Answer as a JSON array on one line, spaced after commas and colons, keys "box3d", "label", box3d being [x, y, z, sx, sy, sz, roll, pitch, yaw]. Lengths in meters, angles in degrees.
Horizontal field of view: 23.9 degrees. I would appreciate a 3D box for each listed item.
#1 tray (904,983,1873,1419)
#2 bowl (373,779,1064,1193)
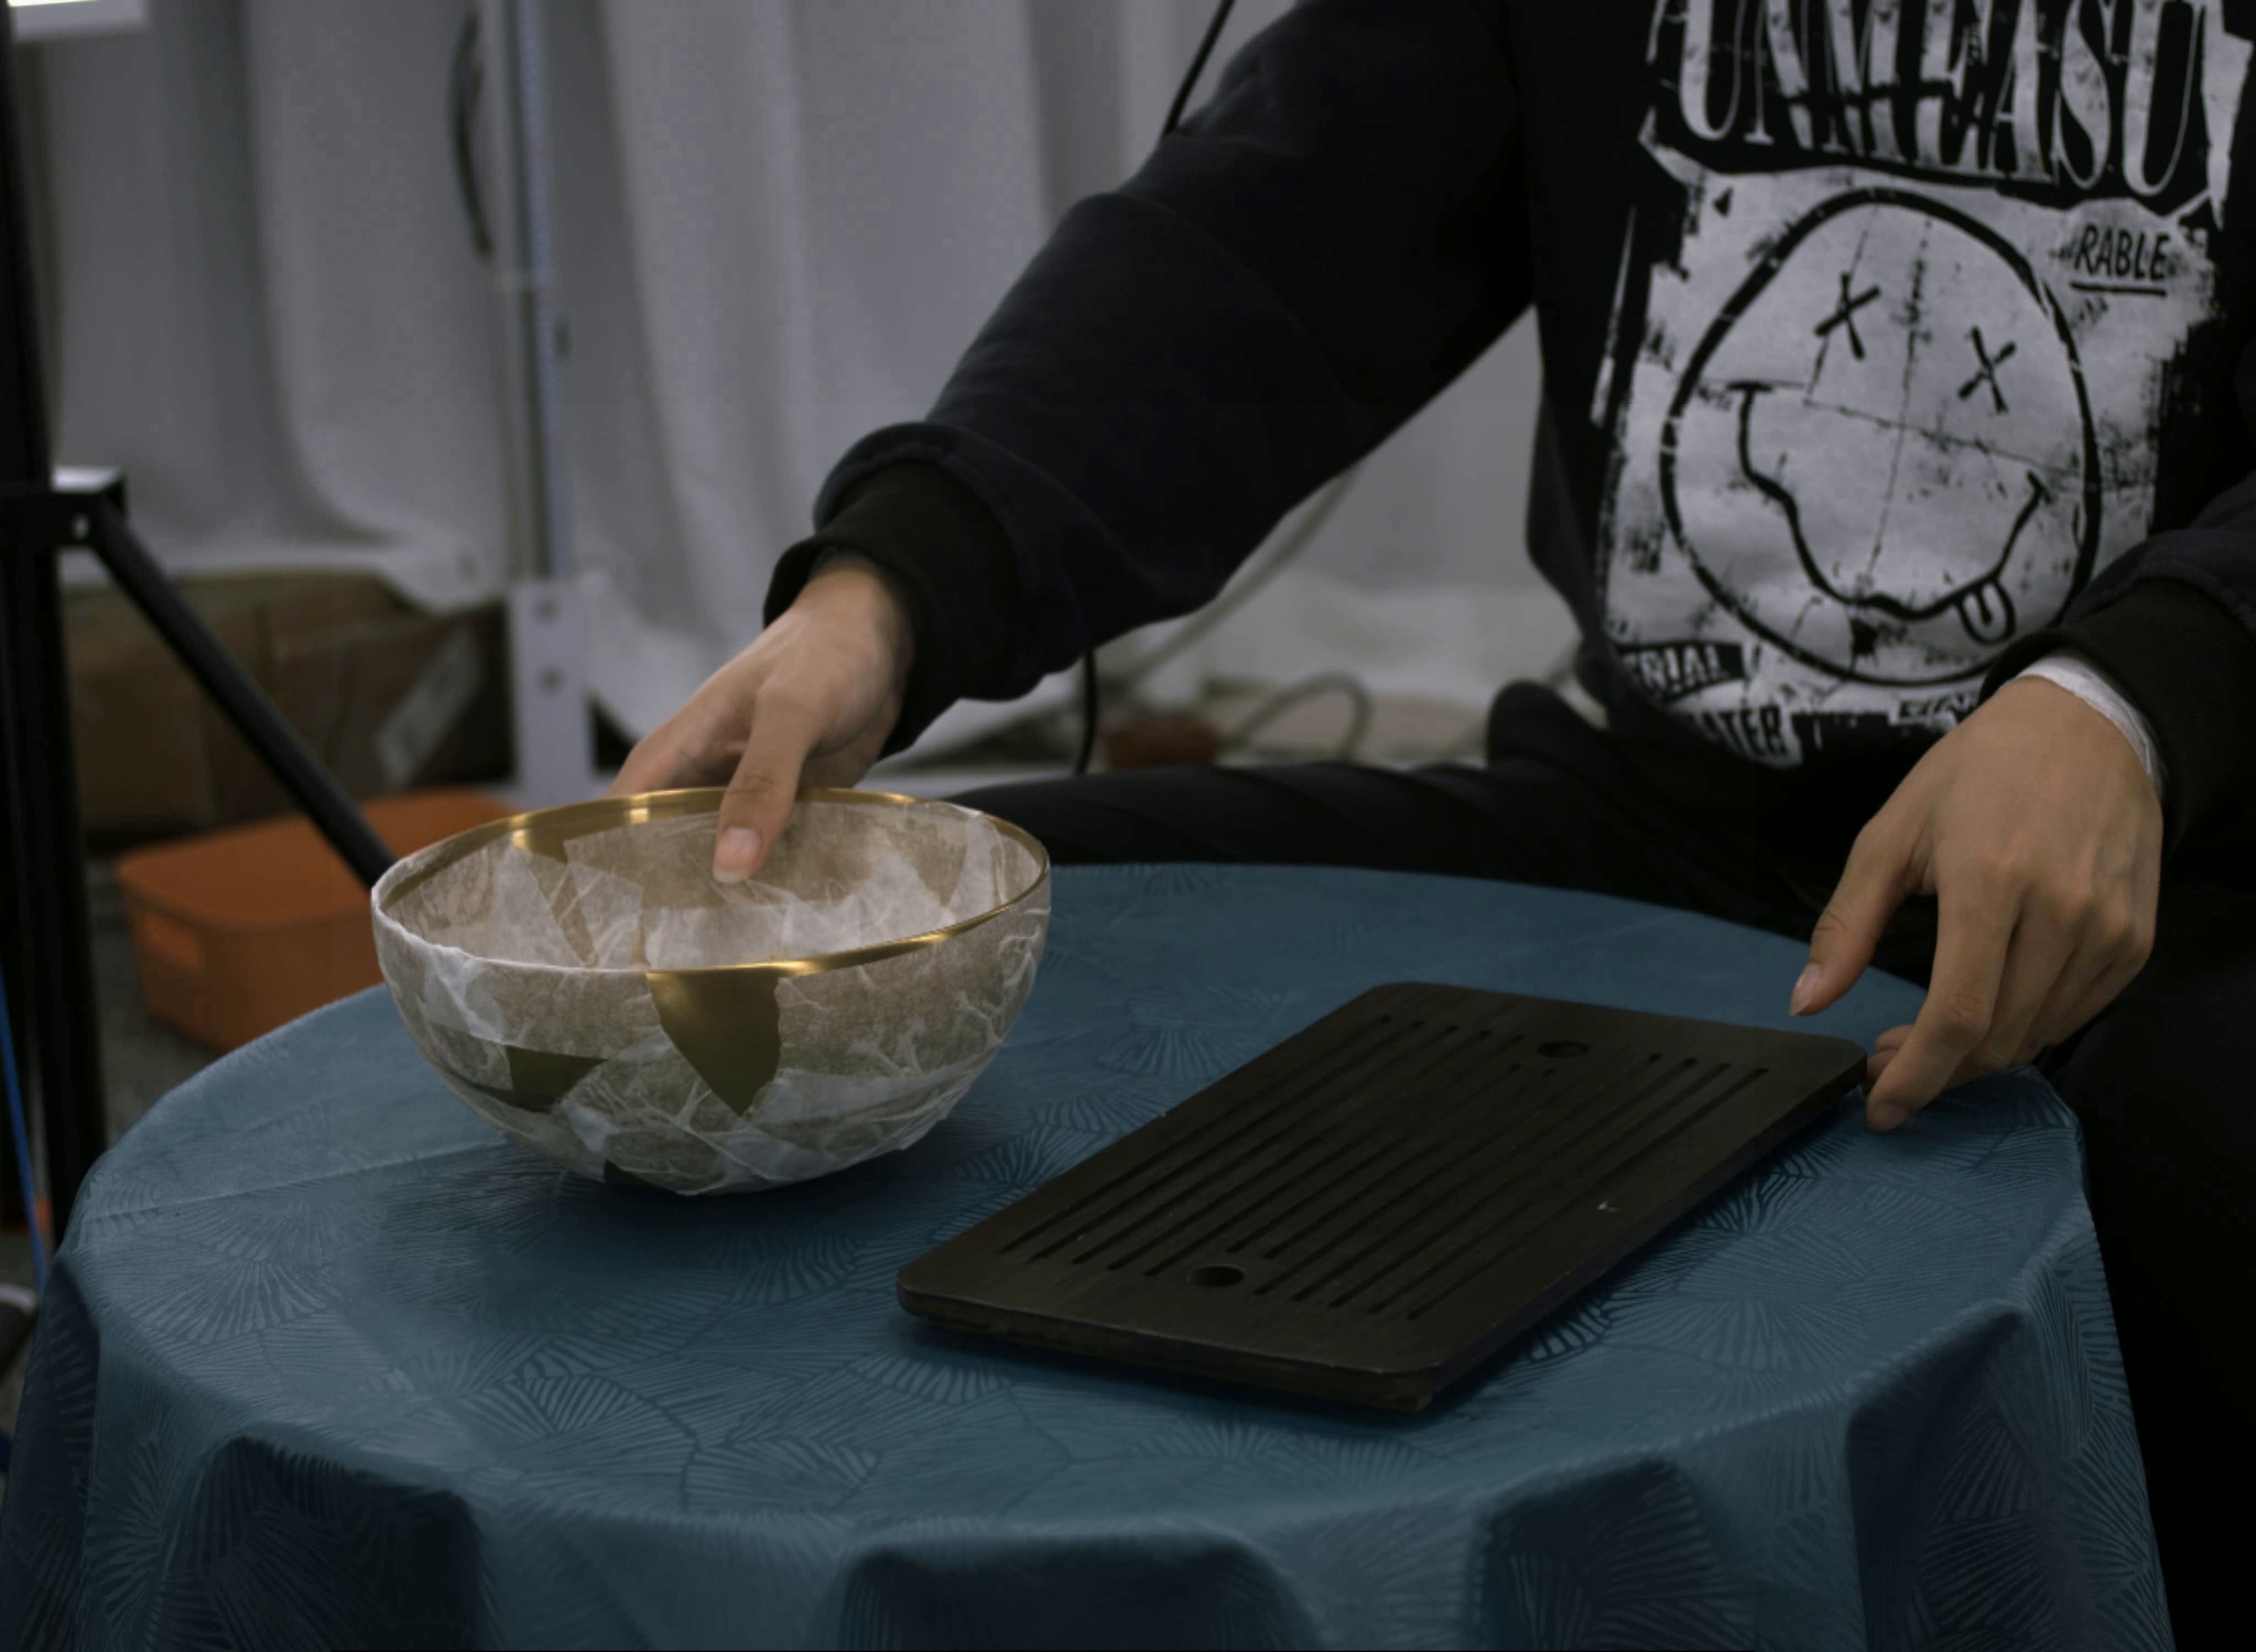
[{"box3d": [0.082, 0.104, 1.526, 0.173, 0.018, 0.300, 7, 18, 30], "label": "tray"}, {"box3d": [-0.117, 0.056, 1.593, 0.213, 0.094, 0.216, -3, 14, -1], "label": "bowl"}]
